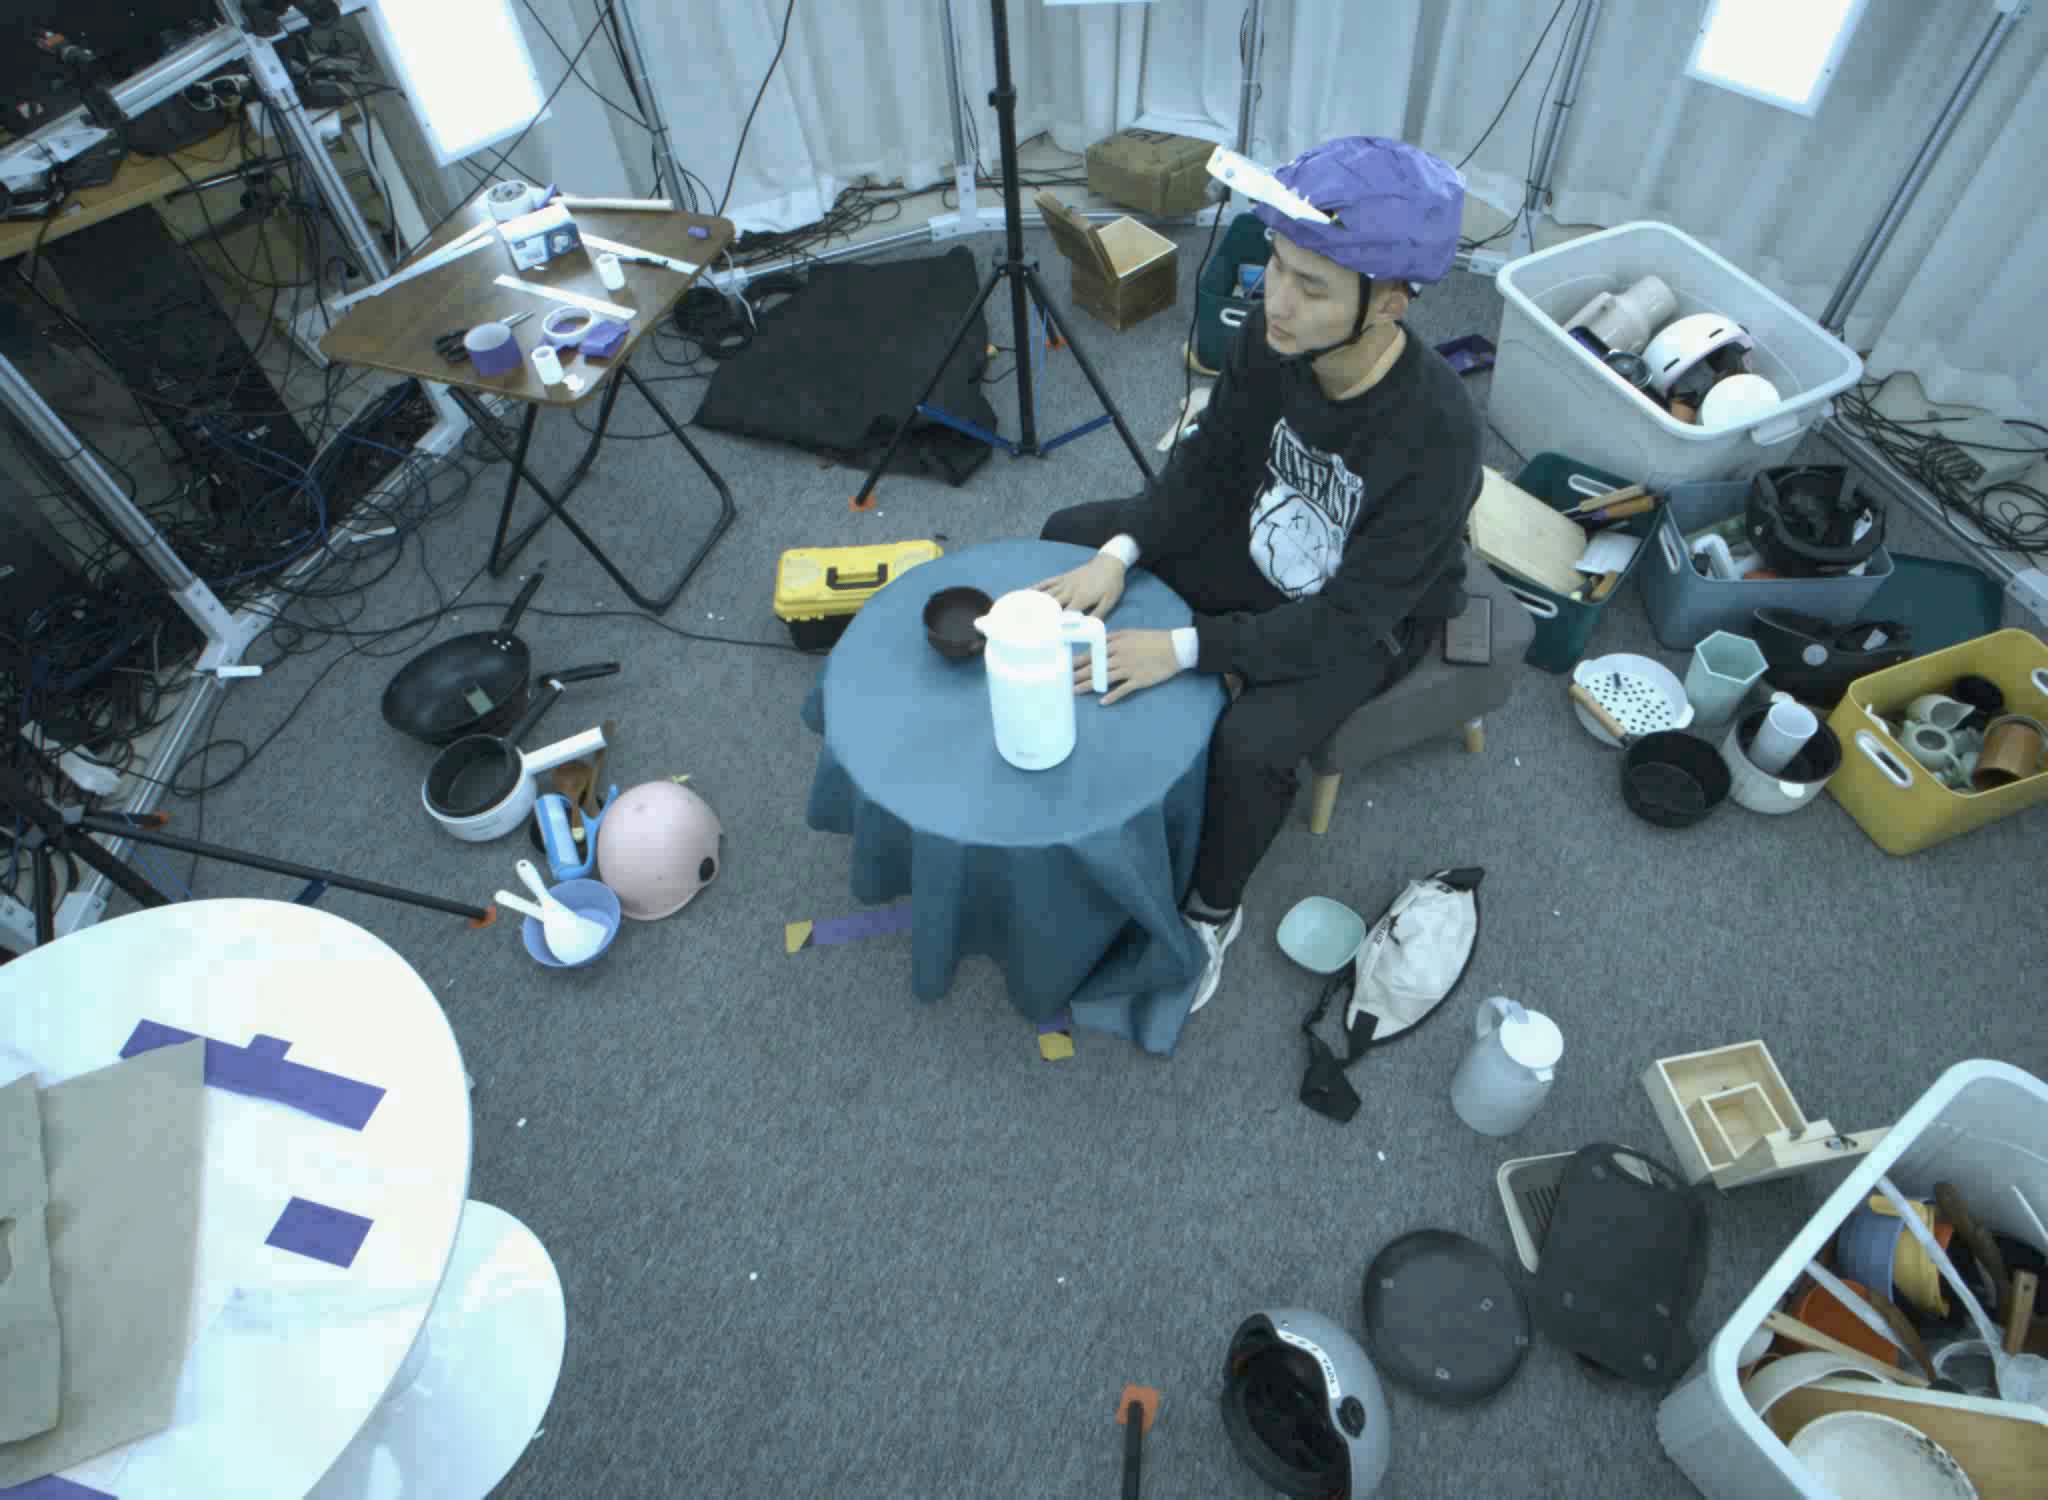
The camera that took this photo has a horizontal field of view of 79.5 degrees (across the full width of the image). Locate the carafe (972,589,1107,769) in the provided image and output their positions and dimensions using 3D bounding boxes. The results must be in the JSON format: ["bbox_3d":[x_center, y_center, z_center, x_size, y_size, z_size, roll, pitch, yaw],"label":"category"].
[{"bbox_3d":[0.027,-0.095,1.685,0.173,0.272,0.122,-3,52,2],"label":"carafe"}]

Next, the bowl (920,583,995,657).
[{"bbox_3d":[-0.097,-0.190,1.876,0.118,0.070,0.117,-1,55,3],"label":"bowl"}]
